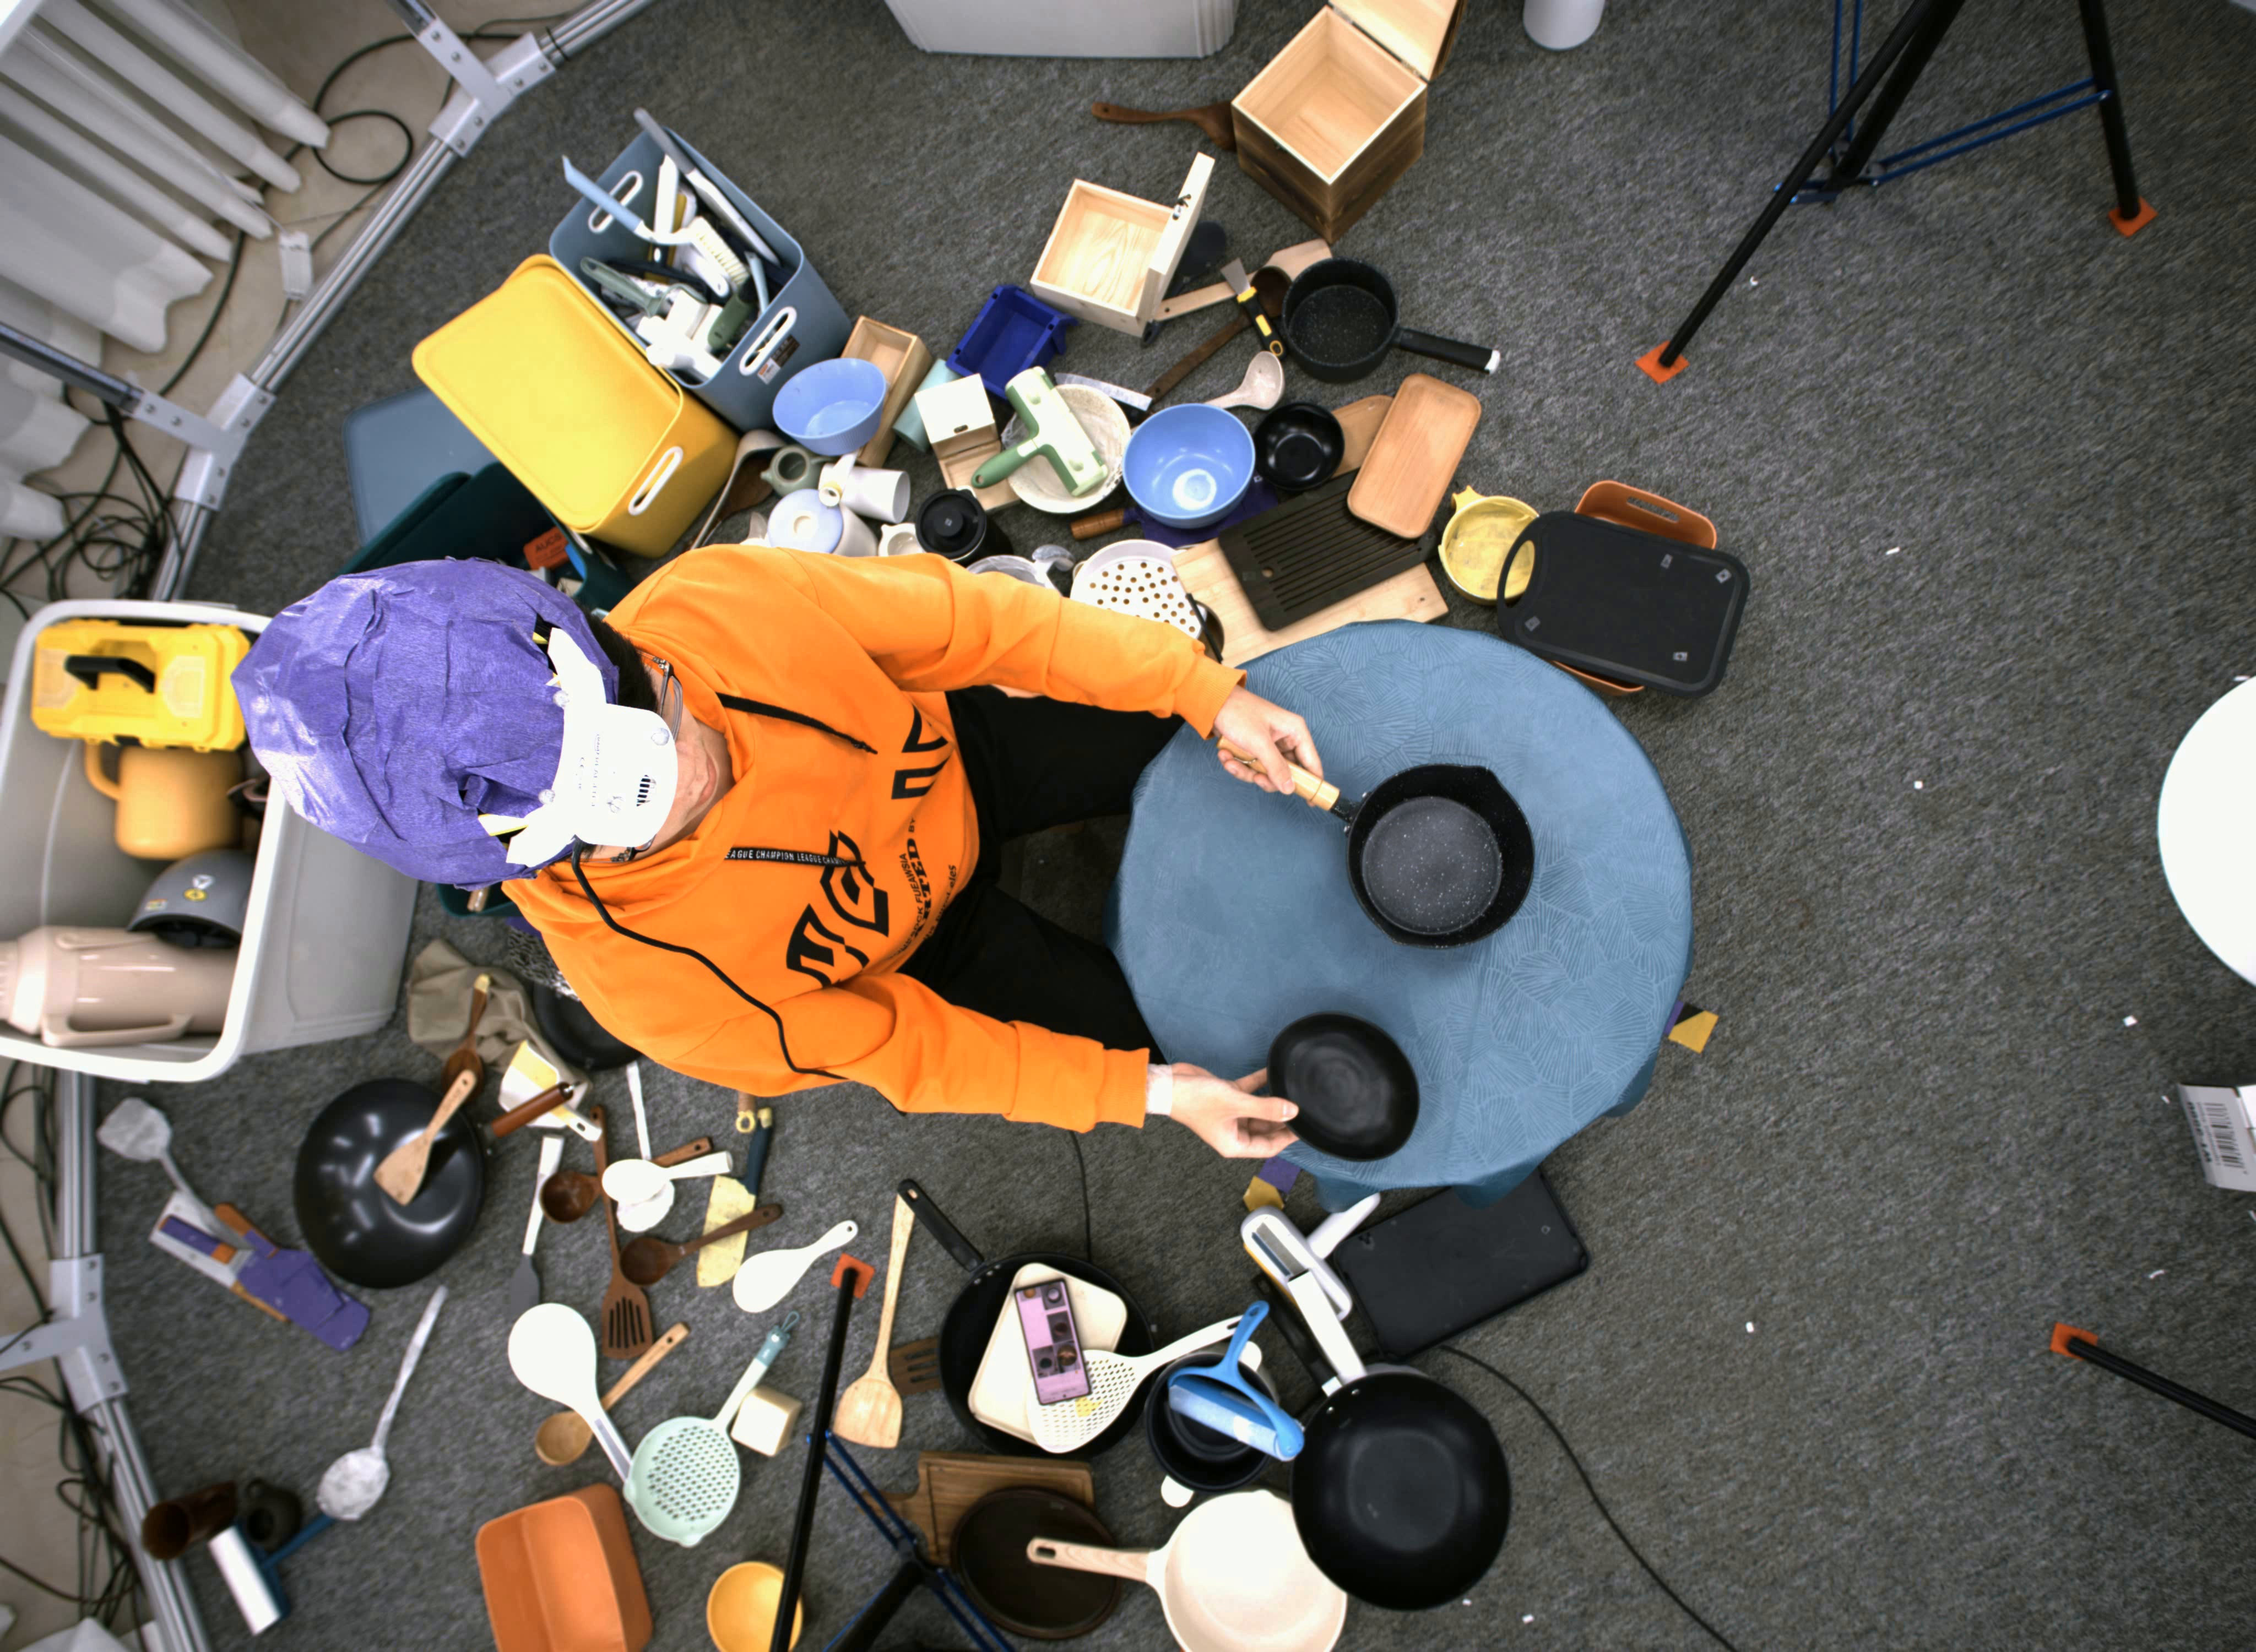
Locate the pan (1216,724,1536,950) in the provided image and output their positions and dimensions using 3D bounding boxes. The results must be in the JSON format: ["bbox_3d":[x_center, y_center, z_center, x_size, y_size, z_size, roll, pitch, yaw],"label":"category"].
[{"bbox_3d":[0.241,-0.005,1.396,0.342,0.108,0.207,28,88,7],"label":"pan"}]

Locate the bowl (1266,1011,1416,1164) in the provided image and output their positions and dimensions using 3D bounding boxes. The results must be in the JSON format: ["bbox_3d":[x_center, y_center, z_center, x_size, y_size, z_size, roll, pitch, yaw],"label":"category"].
[{"bbox_3d":[0.215,0.262,1.411,0.170,0.067,0.137,39,87,-1],"label":"bowl"}]
